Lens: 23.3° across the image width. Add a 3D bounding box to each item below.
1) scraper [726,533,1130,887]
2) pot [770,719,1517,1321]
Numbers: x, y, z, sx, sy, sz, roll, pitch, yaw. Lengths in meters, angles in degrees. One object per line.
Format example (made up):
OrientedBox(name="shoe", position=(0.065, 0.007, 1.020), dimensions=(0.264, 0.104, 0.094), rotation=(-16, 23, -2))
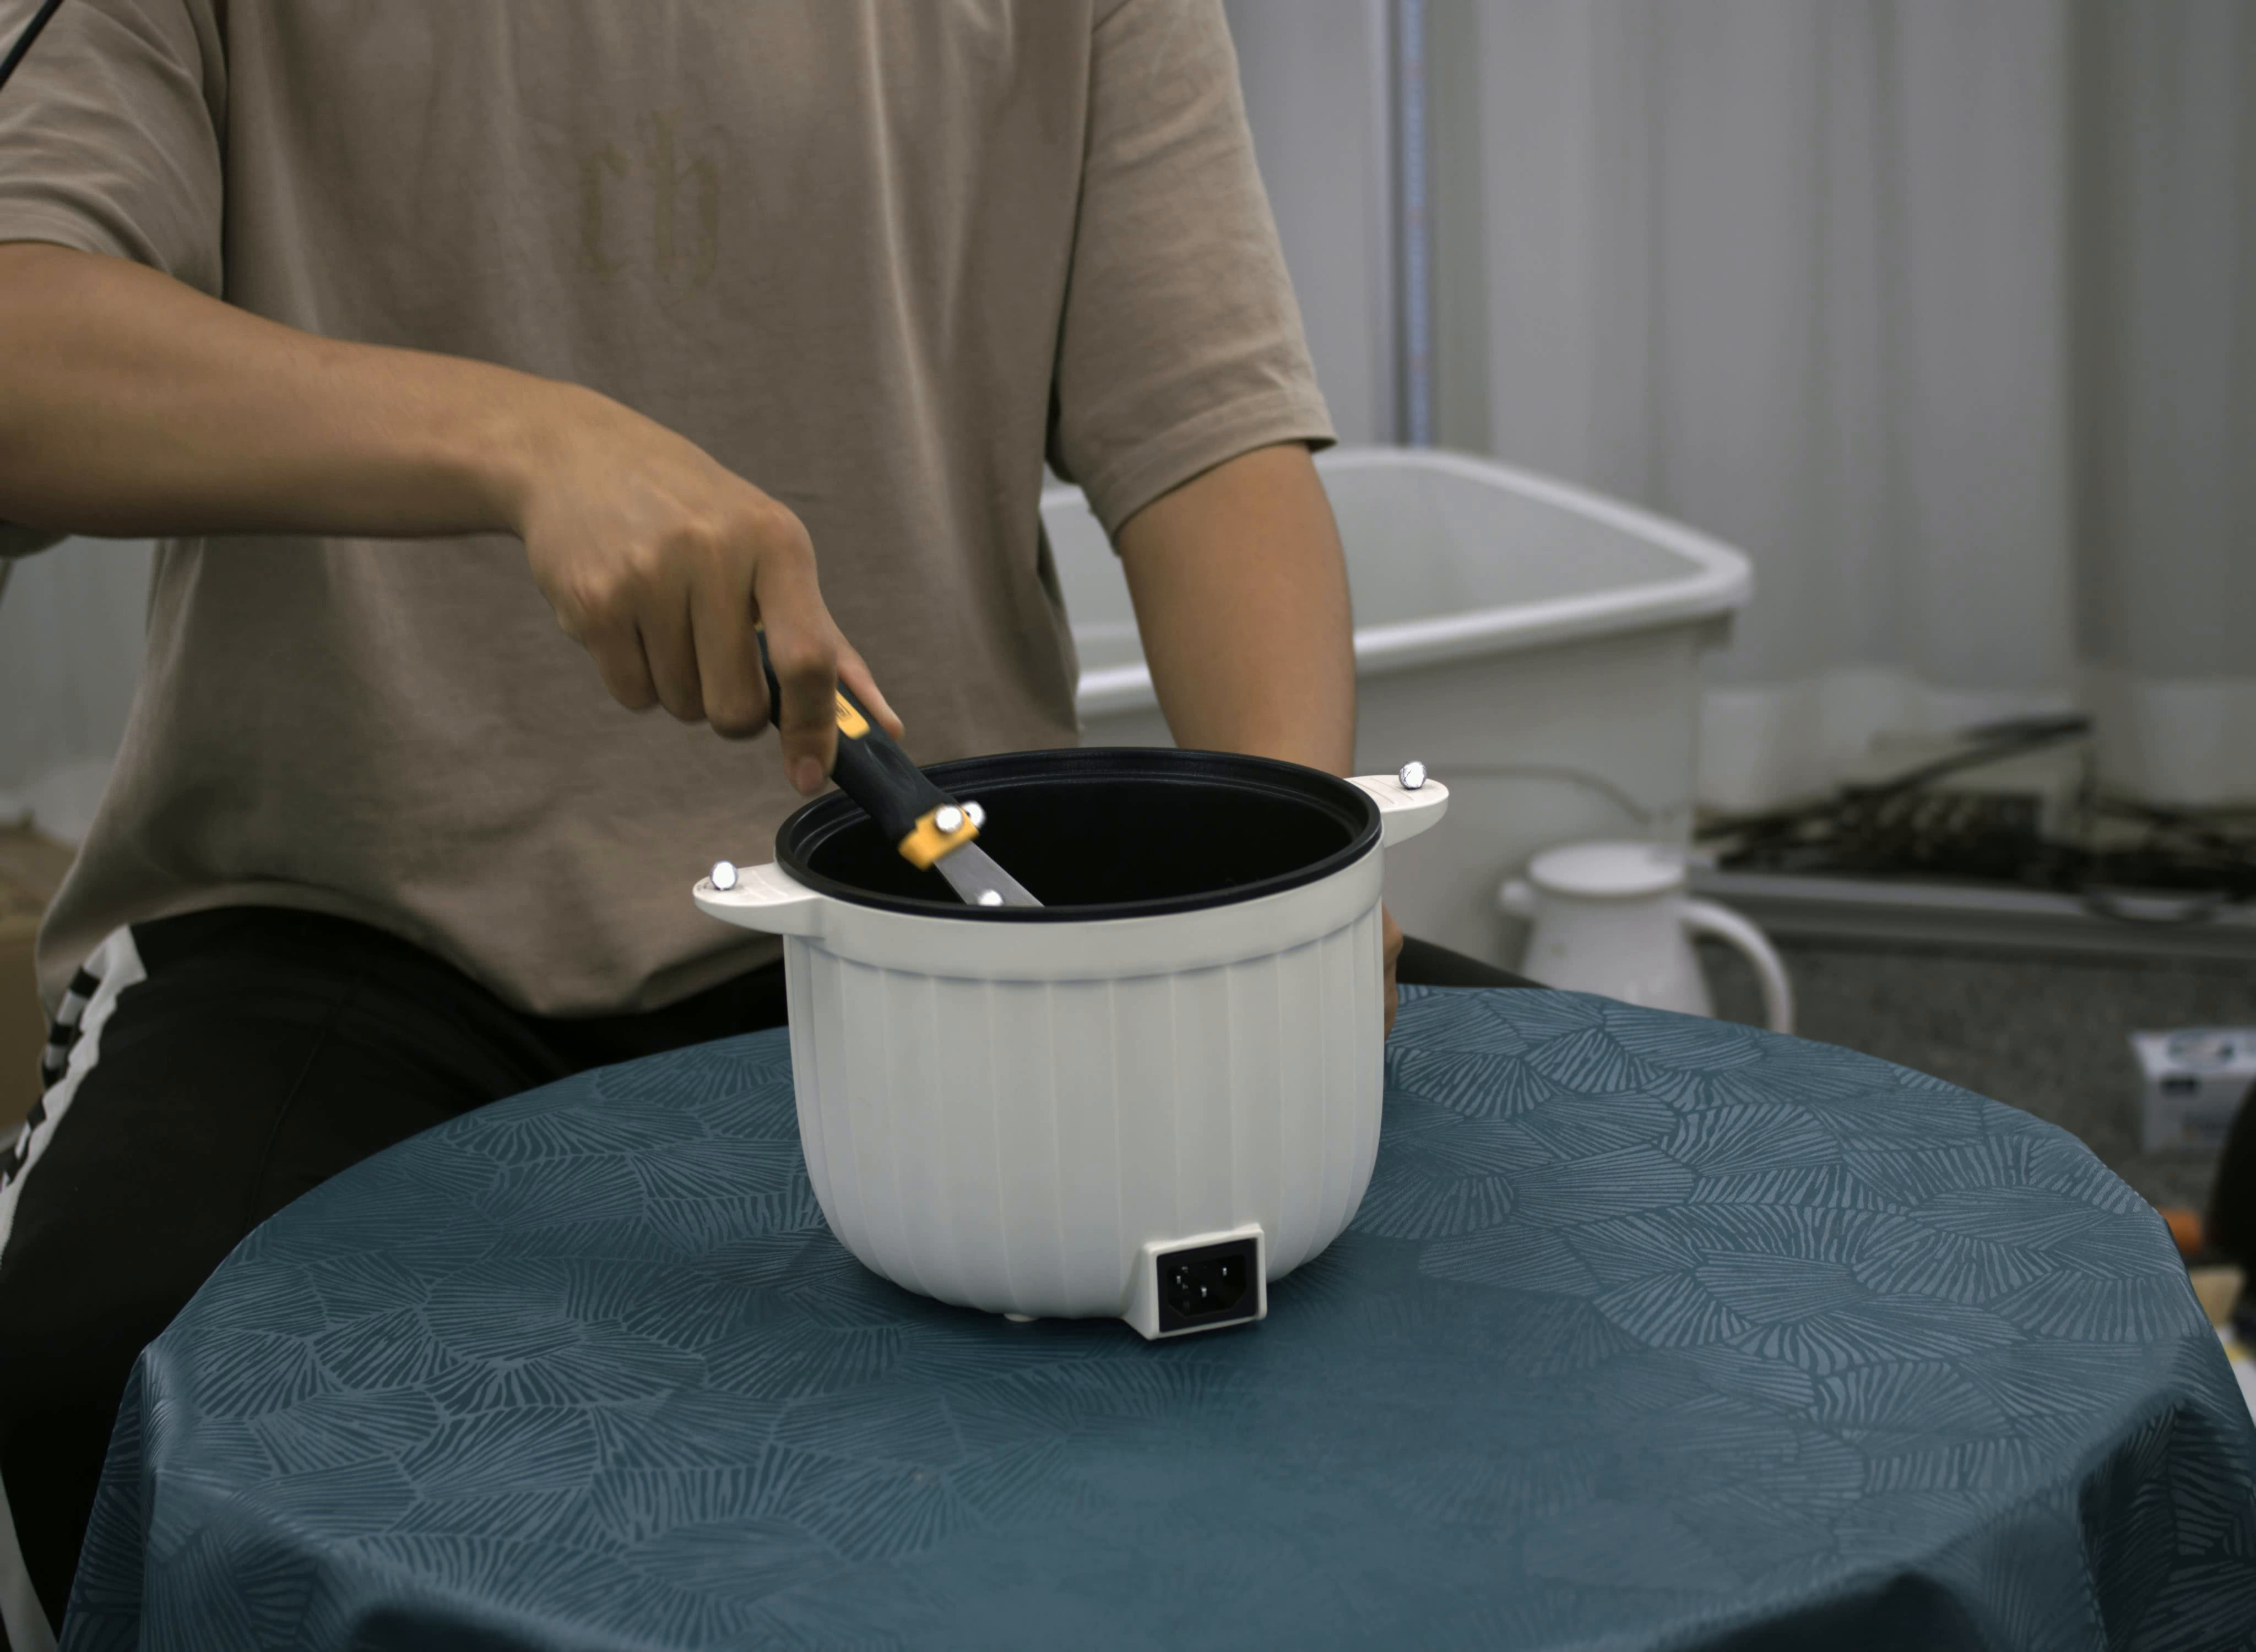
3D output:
OrientedBox(name="scraper", position=(-0.058, -0.025, 1.653), dimensions=(0.171, 0.015, 0.039), rotation=(45, 40, 7))
OrientedBox(name="pot", position=(0.006, 0.056, 1.648), dimensions=(0.239, 0.142, 0.192), rotation=(-8, 19, -22))
